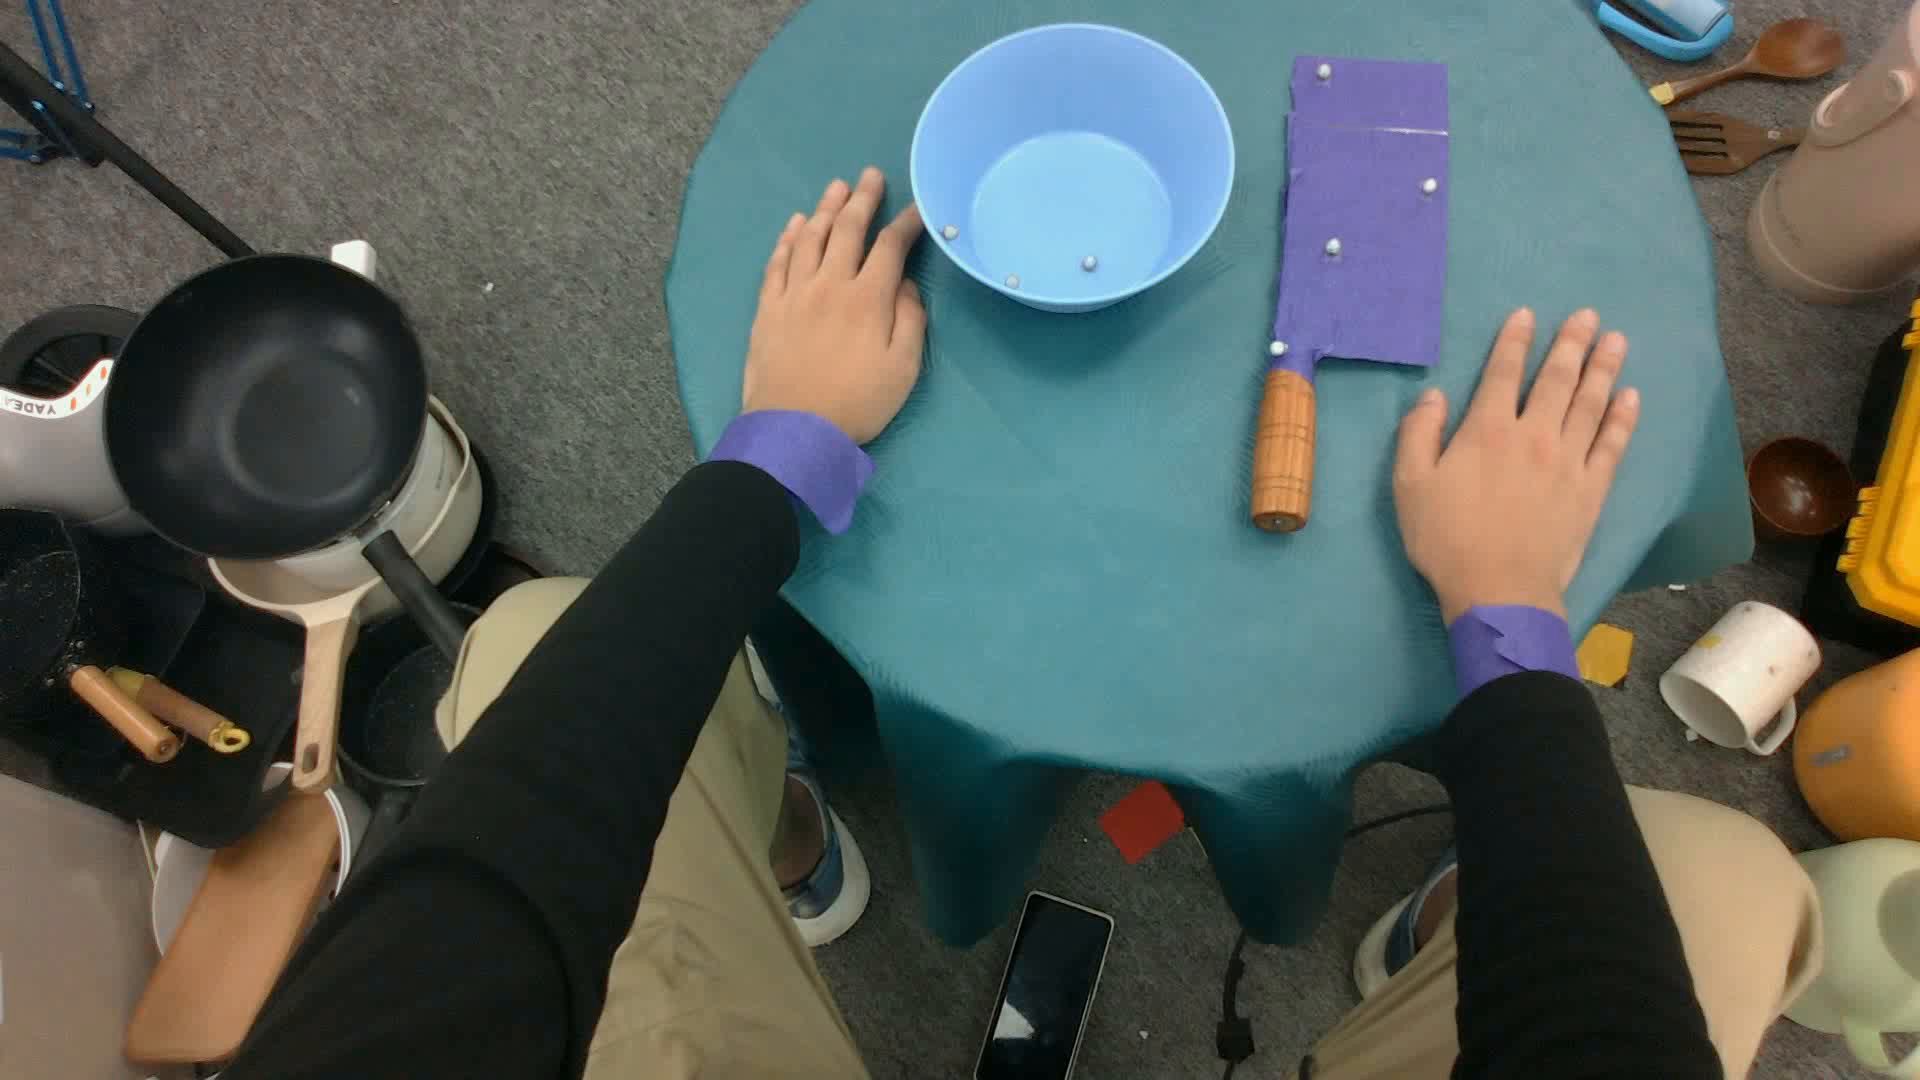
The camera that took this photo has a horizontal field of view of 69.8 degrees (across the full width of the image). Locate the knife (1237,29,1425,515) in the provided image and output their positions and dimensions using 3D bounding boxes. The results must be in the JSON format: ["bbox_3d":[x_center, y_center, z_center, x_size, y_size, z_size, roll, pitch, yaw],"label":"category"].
[{"bbox_3d":[0.210,-0.162,0.780,0.104,0.032,0.316,5,71,5],"label":"knife"}]

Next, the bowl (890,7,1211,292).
[{"bbox_3d":[0.051,-0.208,0.781,0.176,0.070,0.176,-1,72,4],"label":"bowl"}]
